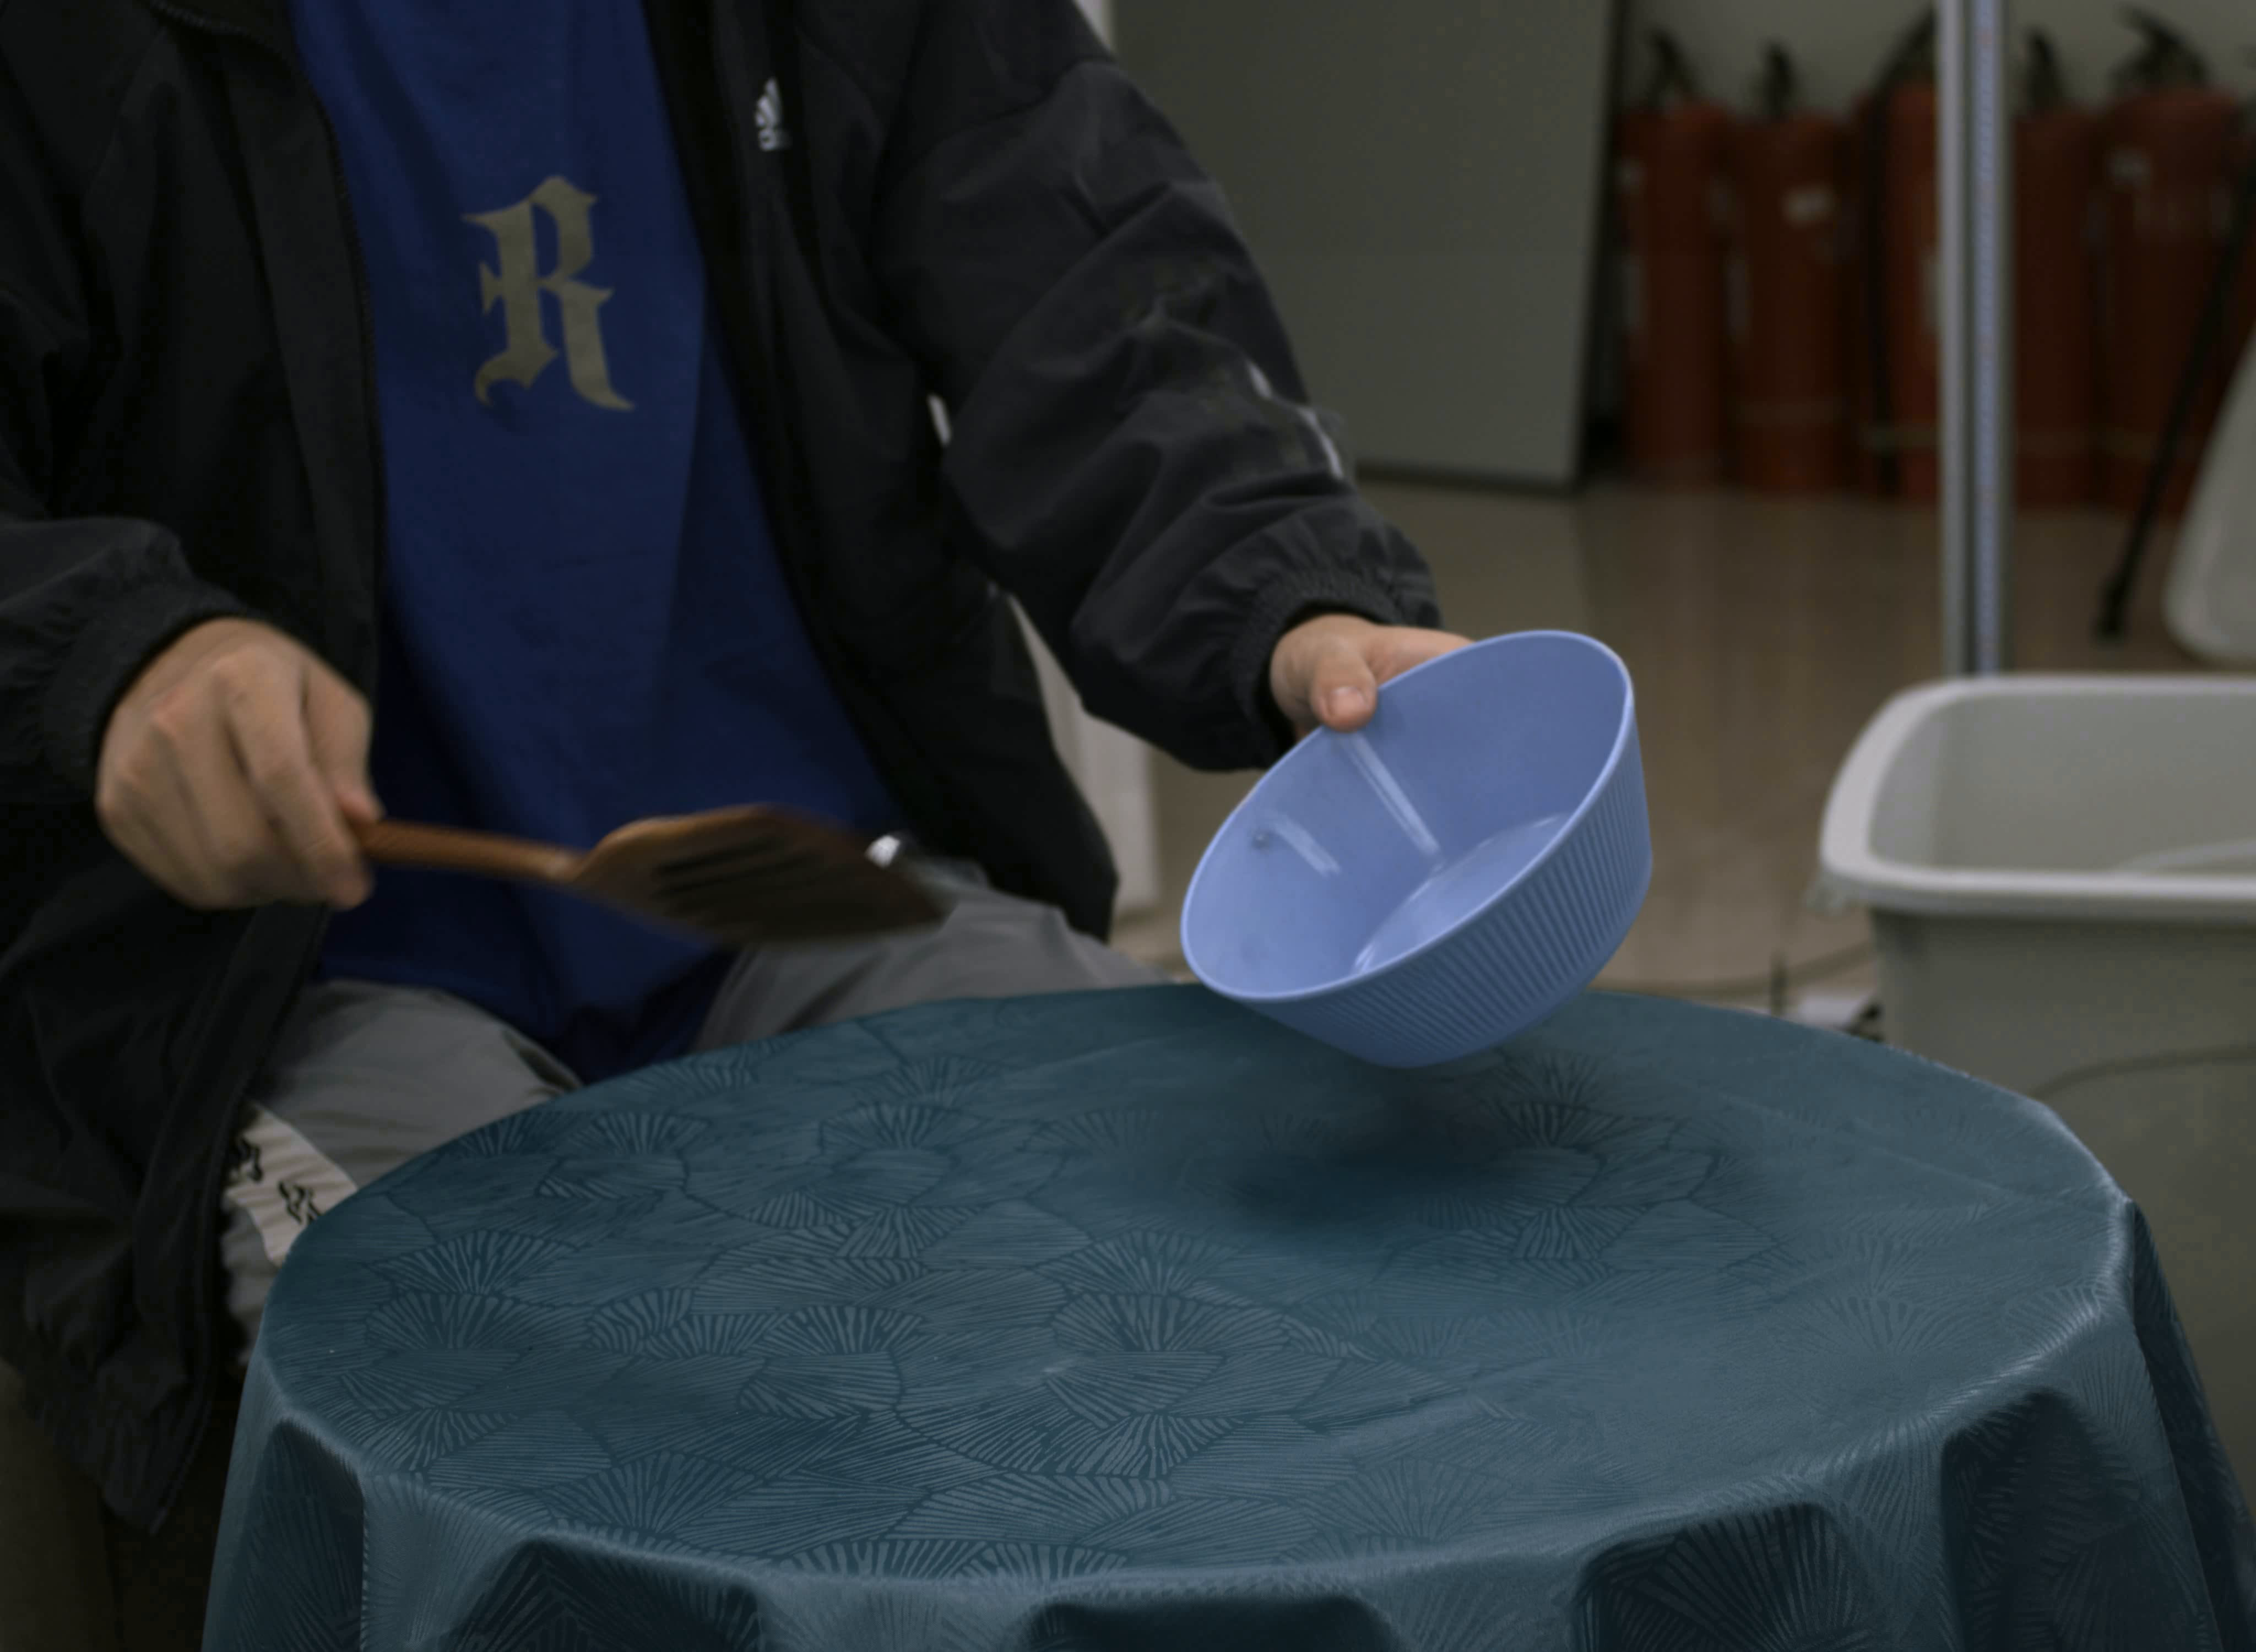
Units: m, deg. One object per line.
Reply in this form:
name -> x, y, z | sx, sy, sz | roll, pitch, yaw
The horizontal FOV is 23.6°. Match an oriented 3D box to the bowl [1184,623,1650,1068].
bowl -> 0.107, 0.017, 1.785 | 0.176, 0.070, 0.177 | -32, 24, 15

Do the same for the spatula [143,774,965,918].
spatula -> -0.201, 0.006, 1.718 | 0.390, 0.024, 0.084 | 1, -22, 47
